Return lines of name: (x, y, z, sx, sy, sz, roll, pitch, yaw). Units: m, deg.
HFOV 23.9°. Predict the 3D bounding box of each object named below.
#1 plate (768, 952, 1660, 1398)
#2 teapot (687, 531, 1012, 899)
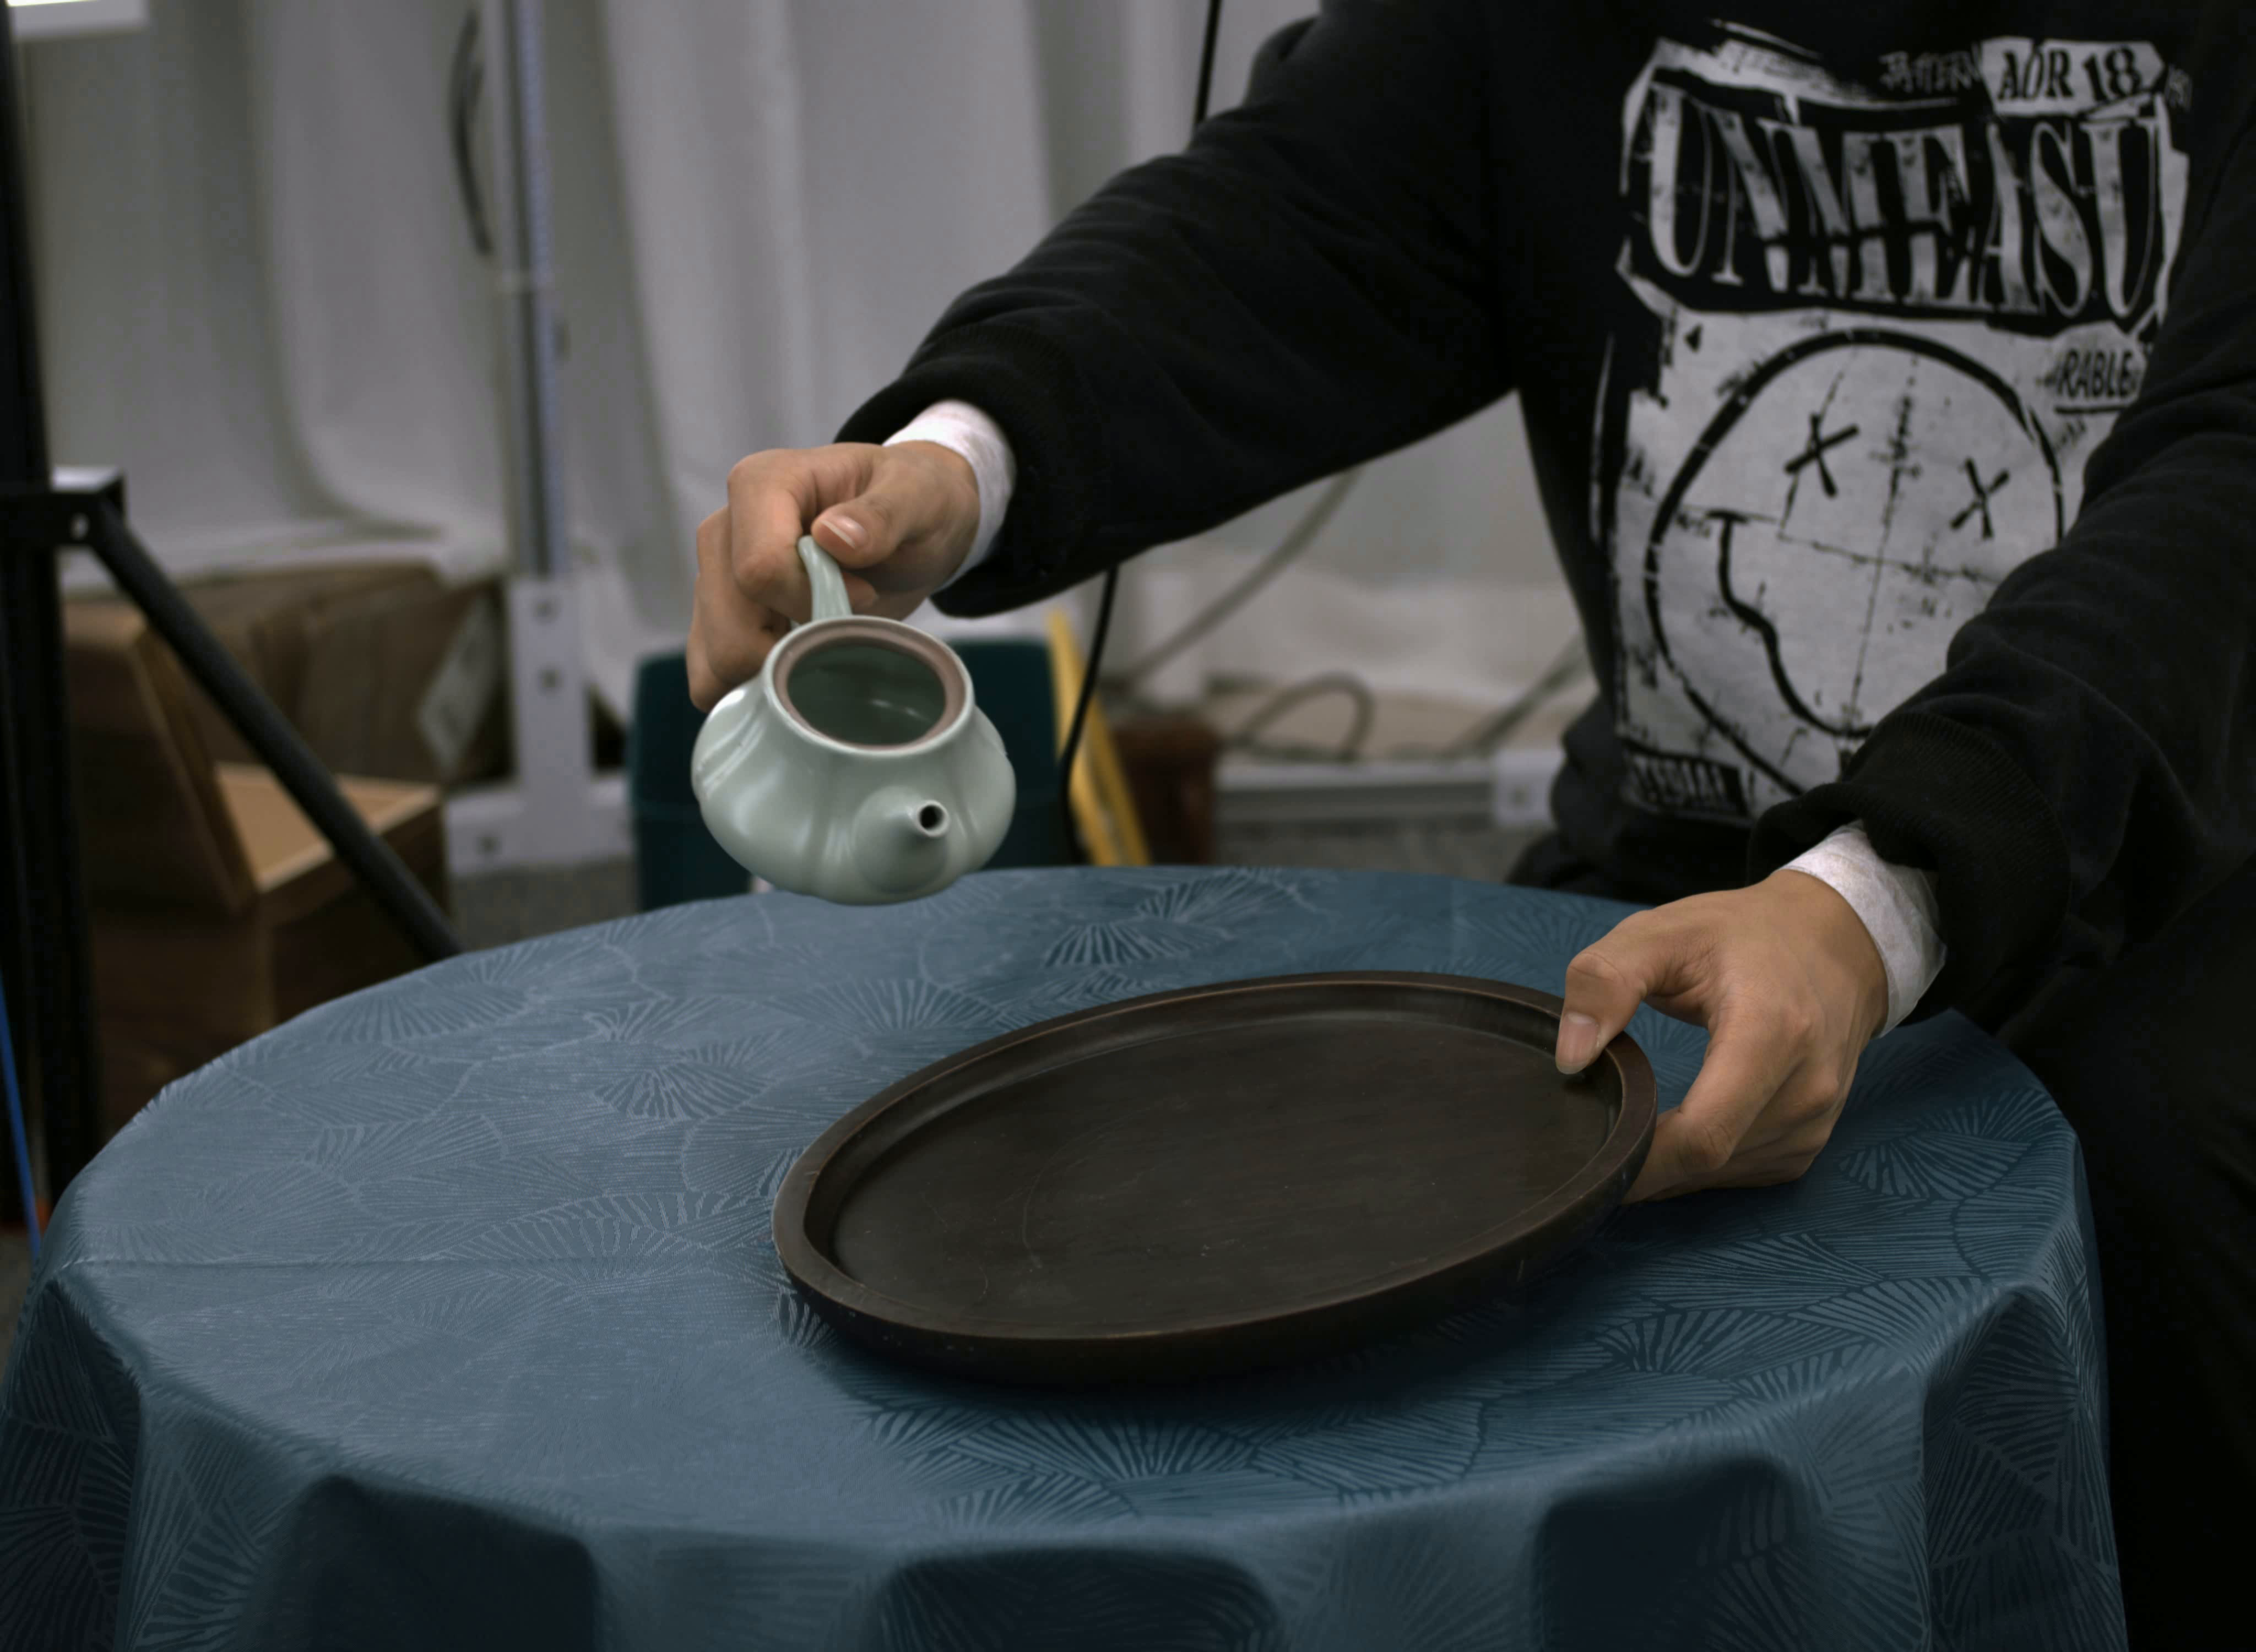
plate: (0.025, 0.098, 1.486, 0.254, 0.029, 0.256, -11, 19, 2)
teapot: (-0.082, -0.028, 1.575, 0.094, 0.061, 0.139, -9, 46, -19)
